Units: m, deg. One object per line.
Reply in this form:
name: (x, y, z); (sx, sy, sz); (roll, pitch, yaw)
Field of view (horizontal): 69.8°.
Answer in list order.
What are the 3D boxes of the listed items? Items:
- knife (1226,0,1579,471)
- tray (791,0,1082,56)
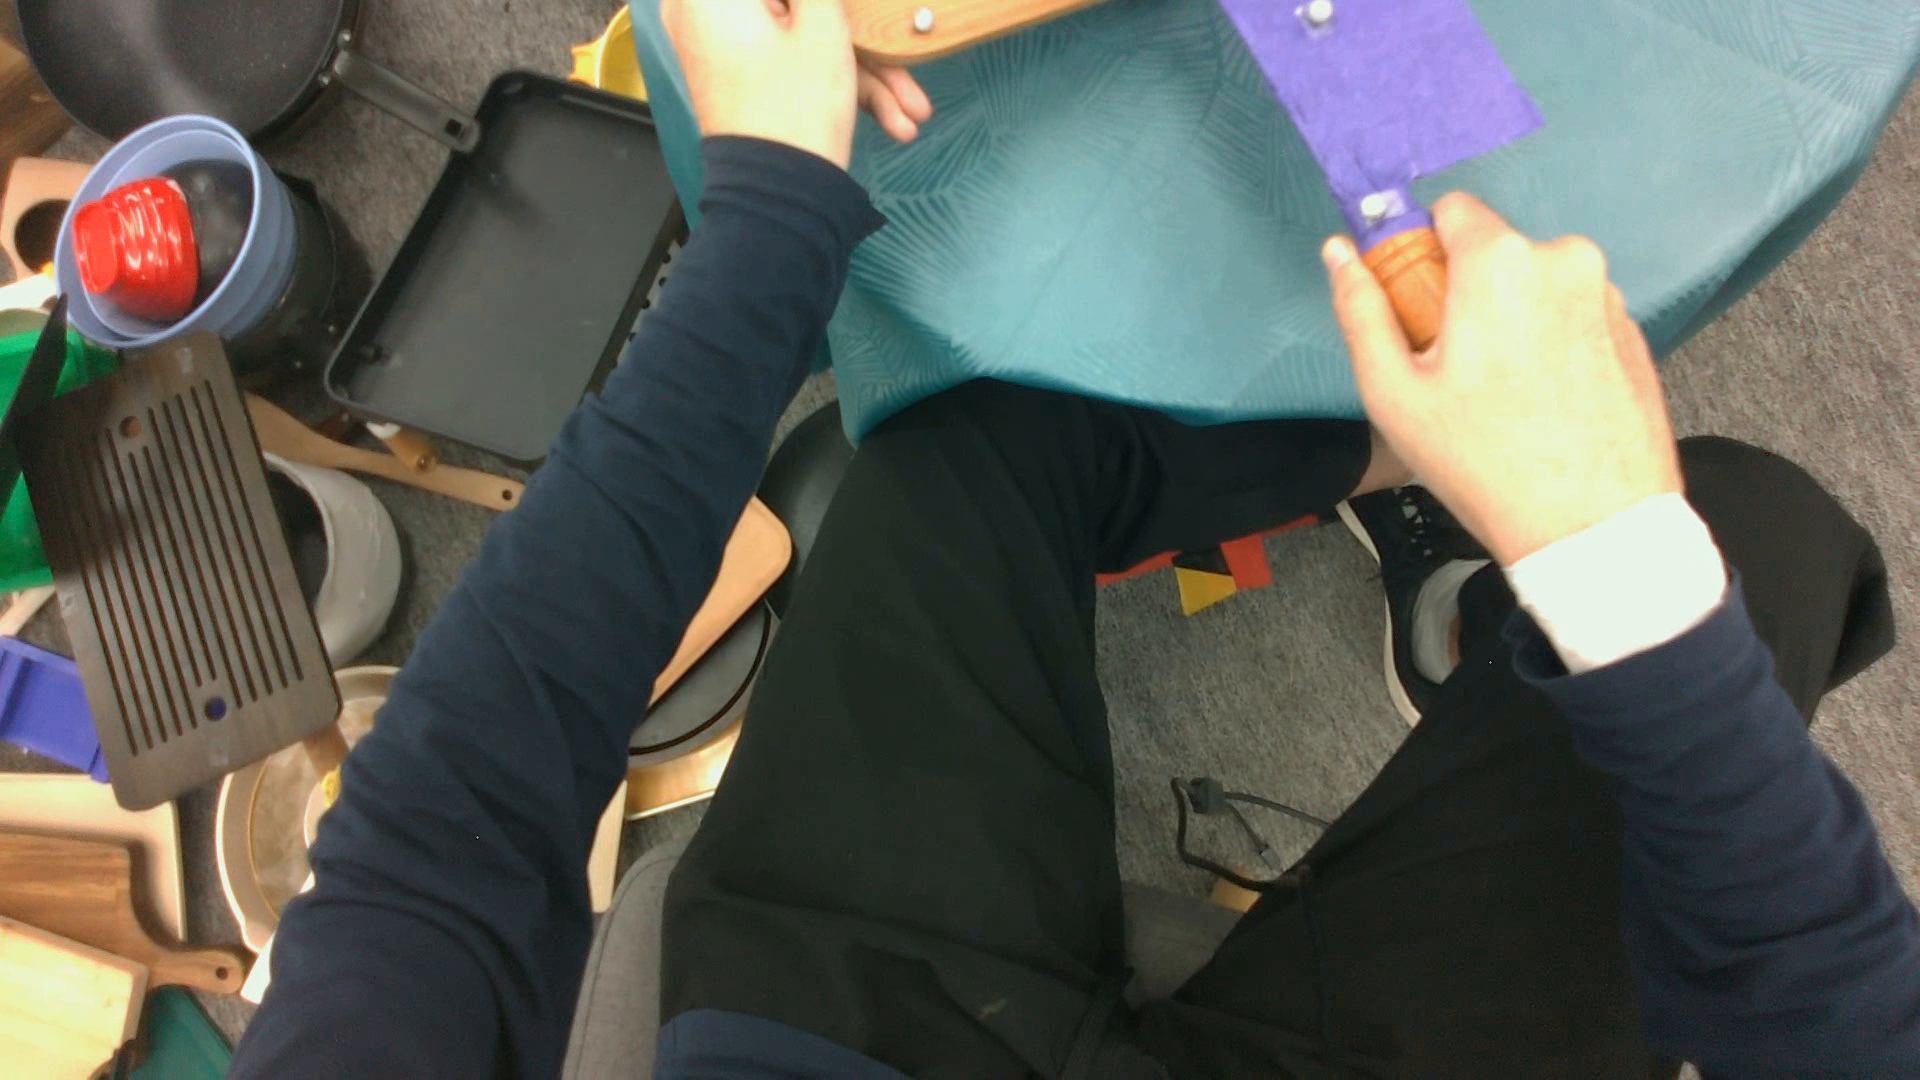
knife: (0.143, -0.177, 0.482); (0.104, 0.032, 0.315); (-24, 80, -17)
tray: (0.027, -0.263, 0.554); (0.232, 0.020, 0.101); (-26, 92, -21)
